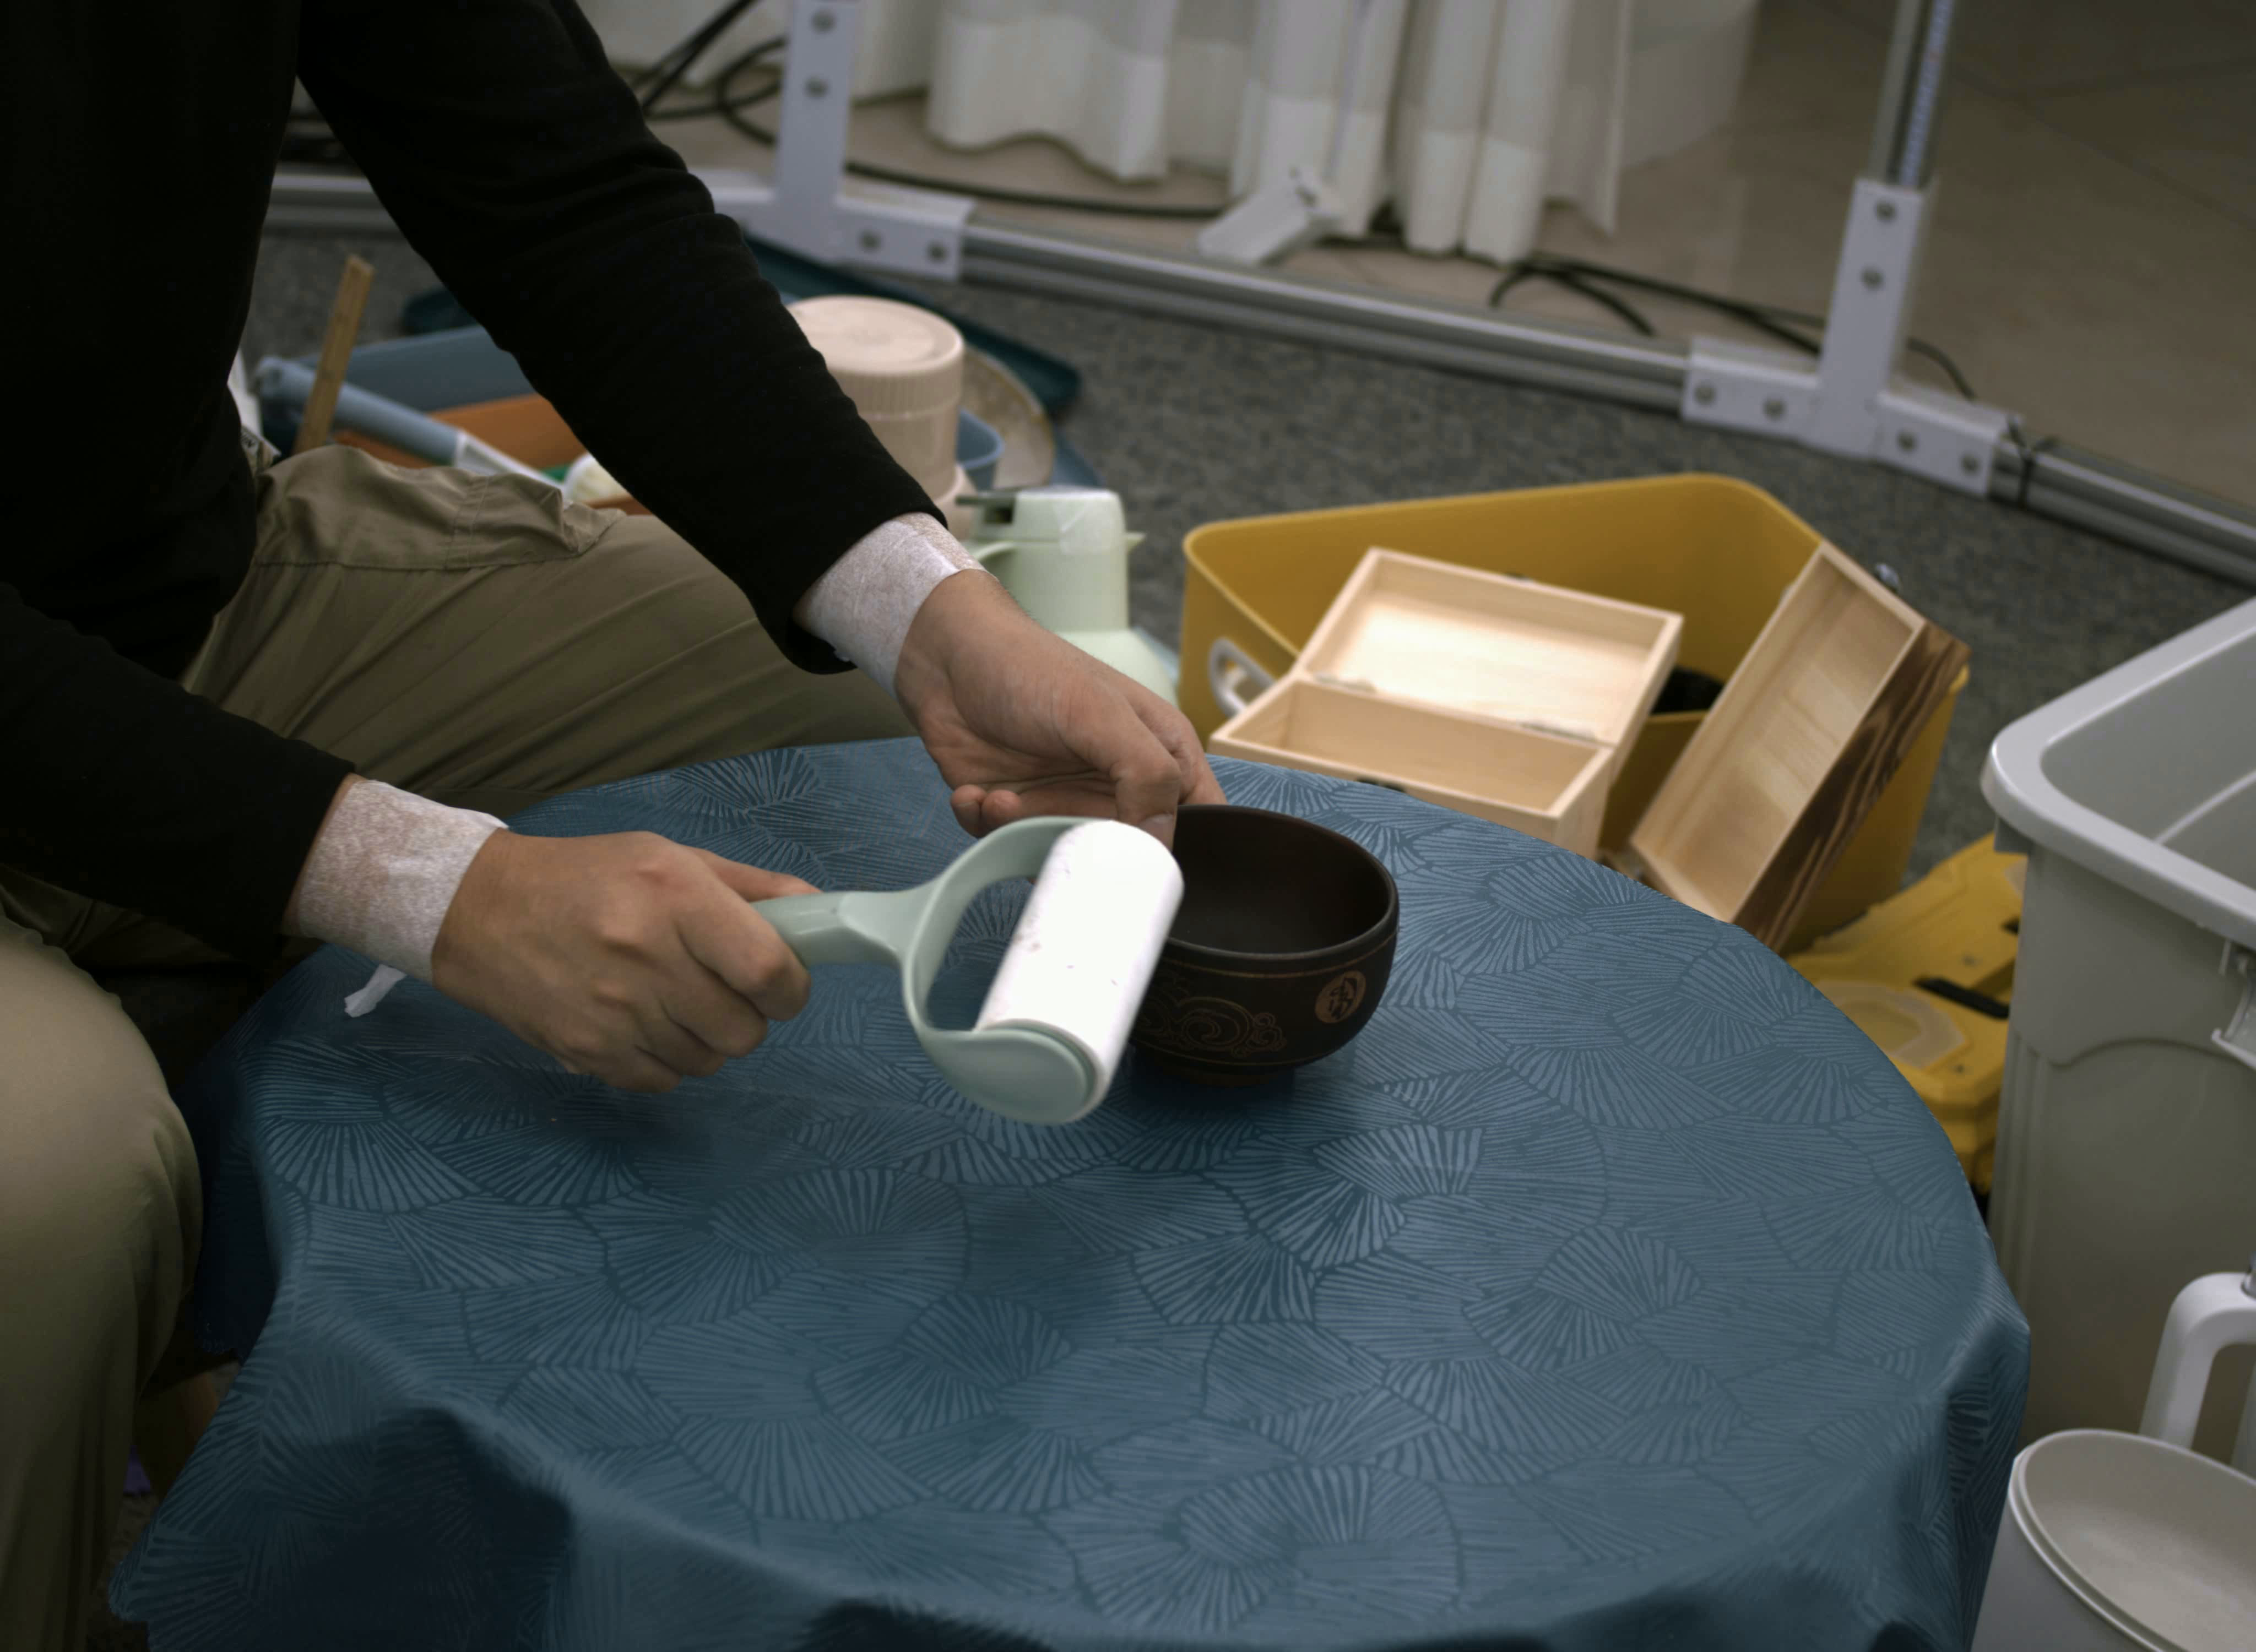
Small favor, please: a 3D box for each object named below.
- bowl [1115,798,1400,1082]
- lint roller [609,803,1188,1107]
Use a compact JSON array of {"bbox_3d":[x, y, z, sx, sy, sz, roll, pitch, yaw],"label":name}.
[{"bbox_3d":[0.035,0.047,1.881,0.117,0.069,0.119,4,27,-3],"label":"bowl"},{"bbox_3d":[-0.083,0.040,1.777,0.198,0.048,0.117,2,40,18],"label":"lint roller"}]
